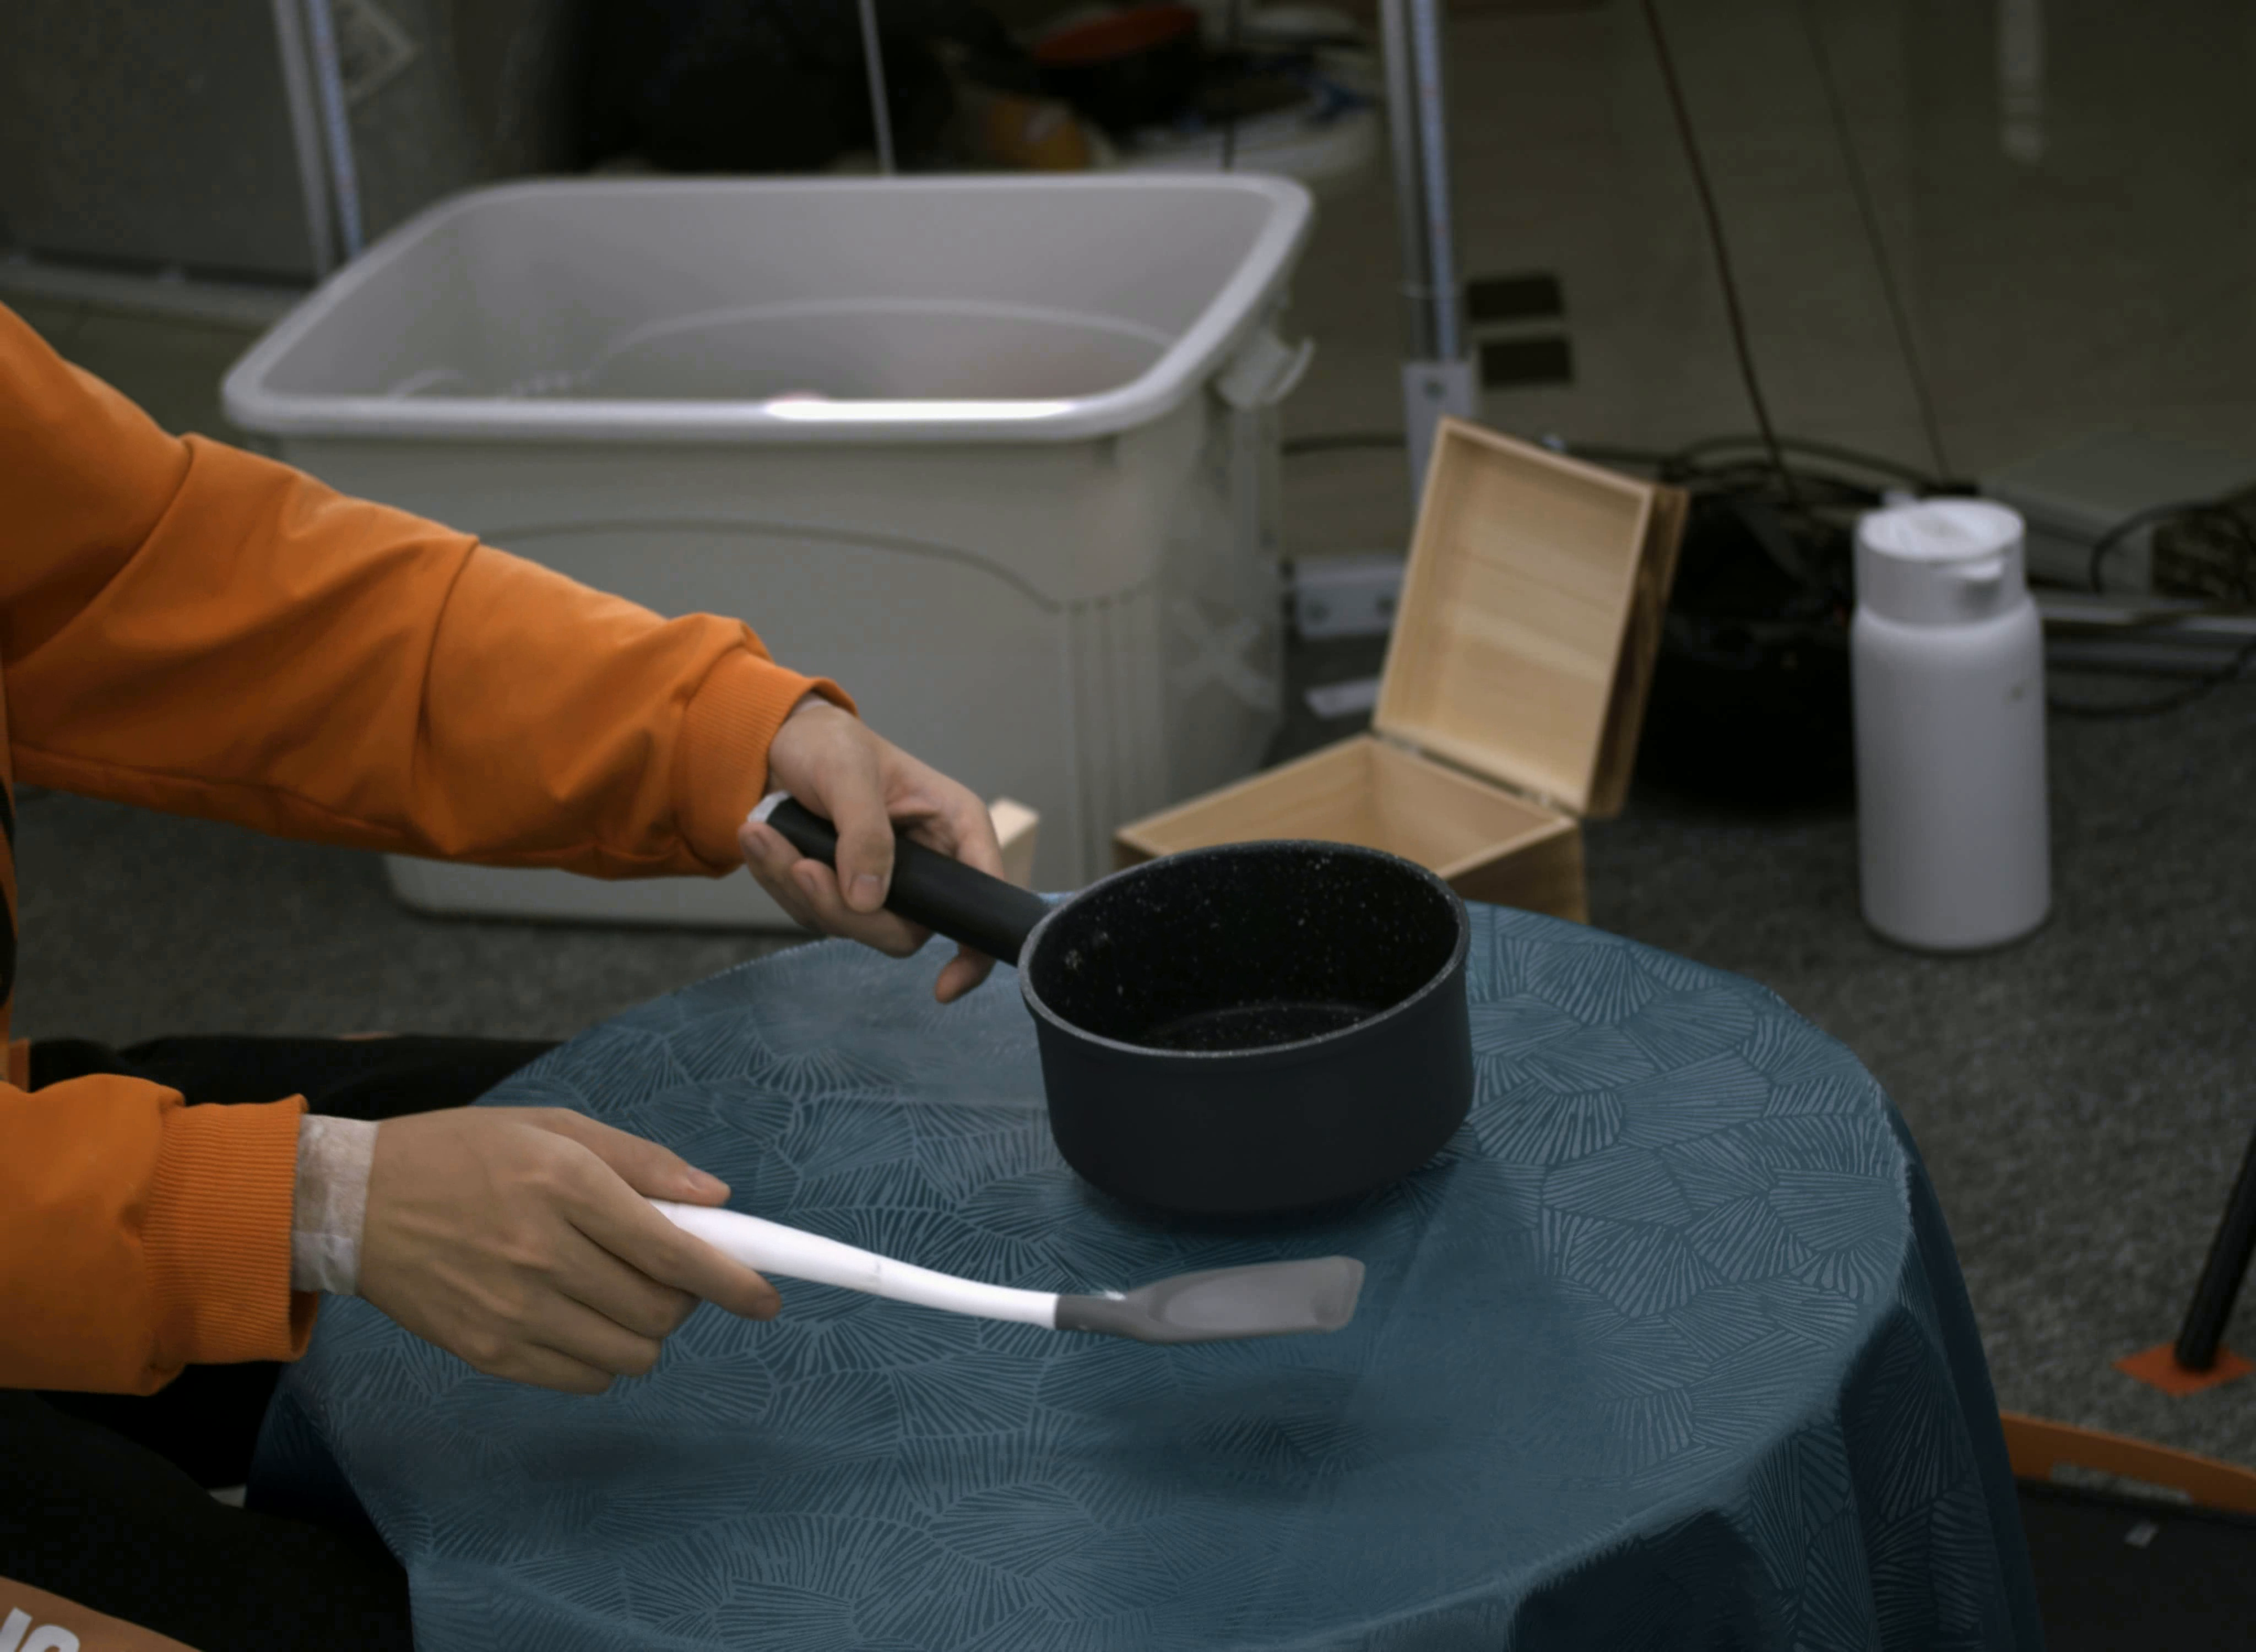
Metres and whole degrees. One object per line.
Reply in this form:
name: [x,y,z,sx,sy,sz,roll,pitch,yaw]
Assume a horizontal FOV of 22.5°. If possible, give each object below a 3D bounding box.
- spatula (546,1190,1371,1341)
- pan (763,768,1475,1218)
spatula: [-0.060,0.155,1.970,0.287,0.032,0.058,5,20,9]
pan: [-0.013,0.056,2.193,0.326,0.088,0.170,18,35,37]
